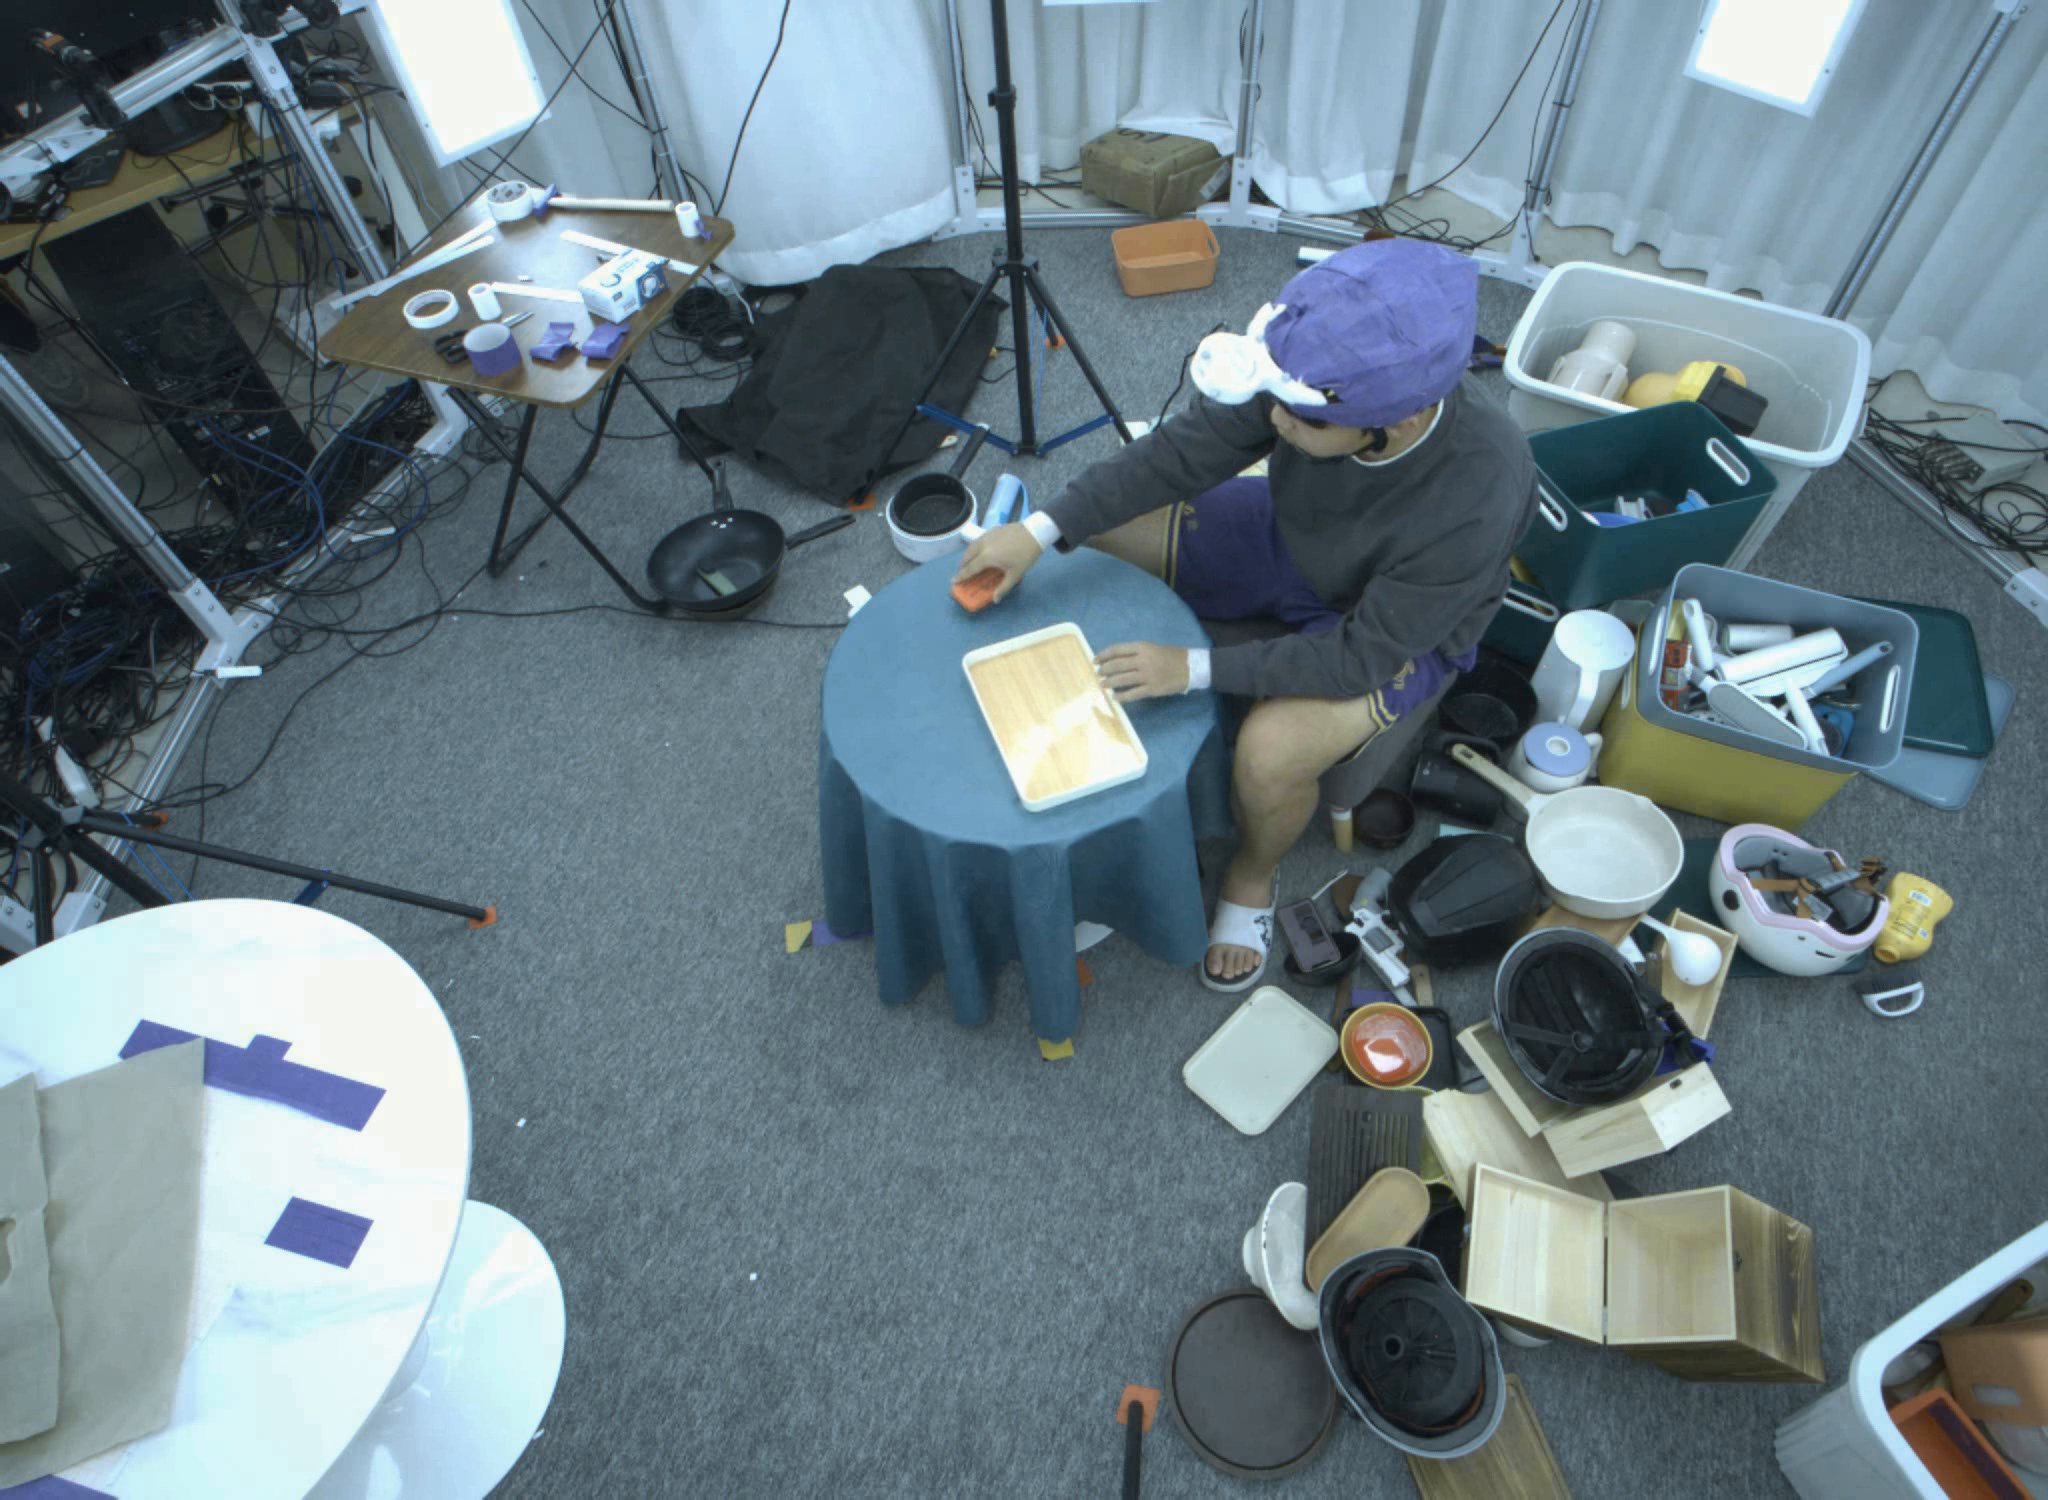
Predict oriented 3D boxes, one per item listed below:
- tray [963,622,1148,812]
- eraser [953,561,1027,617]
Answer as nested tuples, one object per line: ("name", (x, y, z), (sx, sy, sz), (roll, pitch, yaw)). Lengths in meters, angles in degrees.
("tray", (0.042, -0.055, 1.811), (0.193, 0.028, 0.295), (-18, 56, -10))
("eraser", (-0.055, -0.255, 1.937), (0.109, 0.023, 0.058), (-26, 60, -12))
